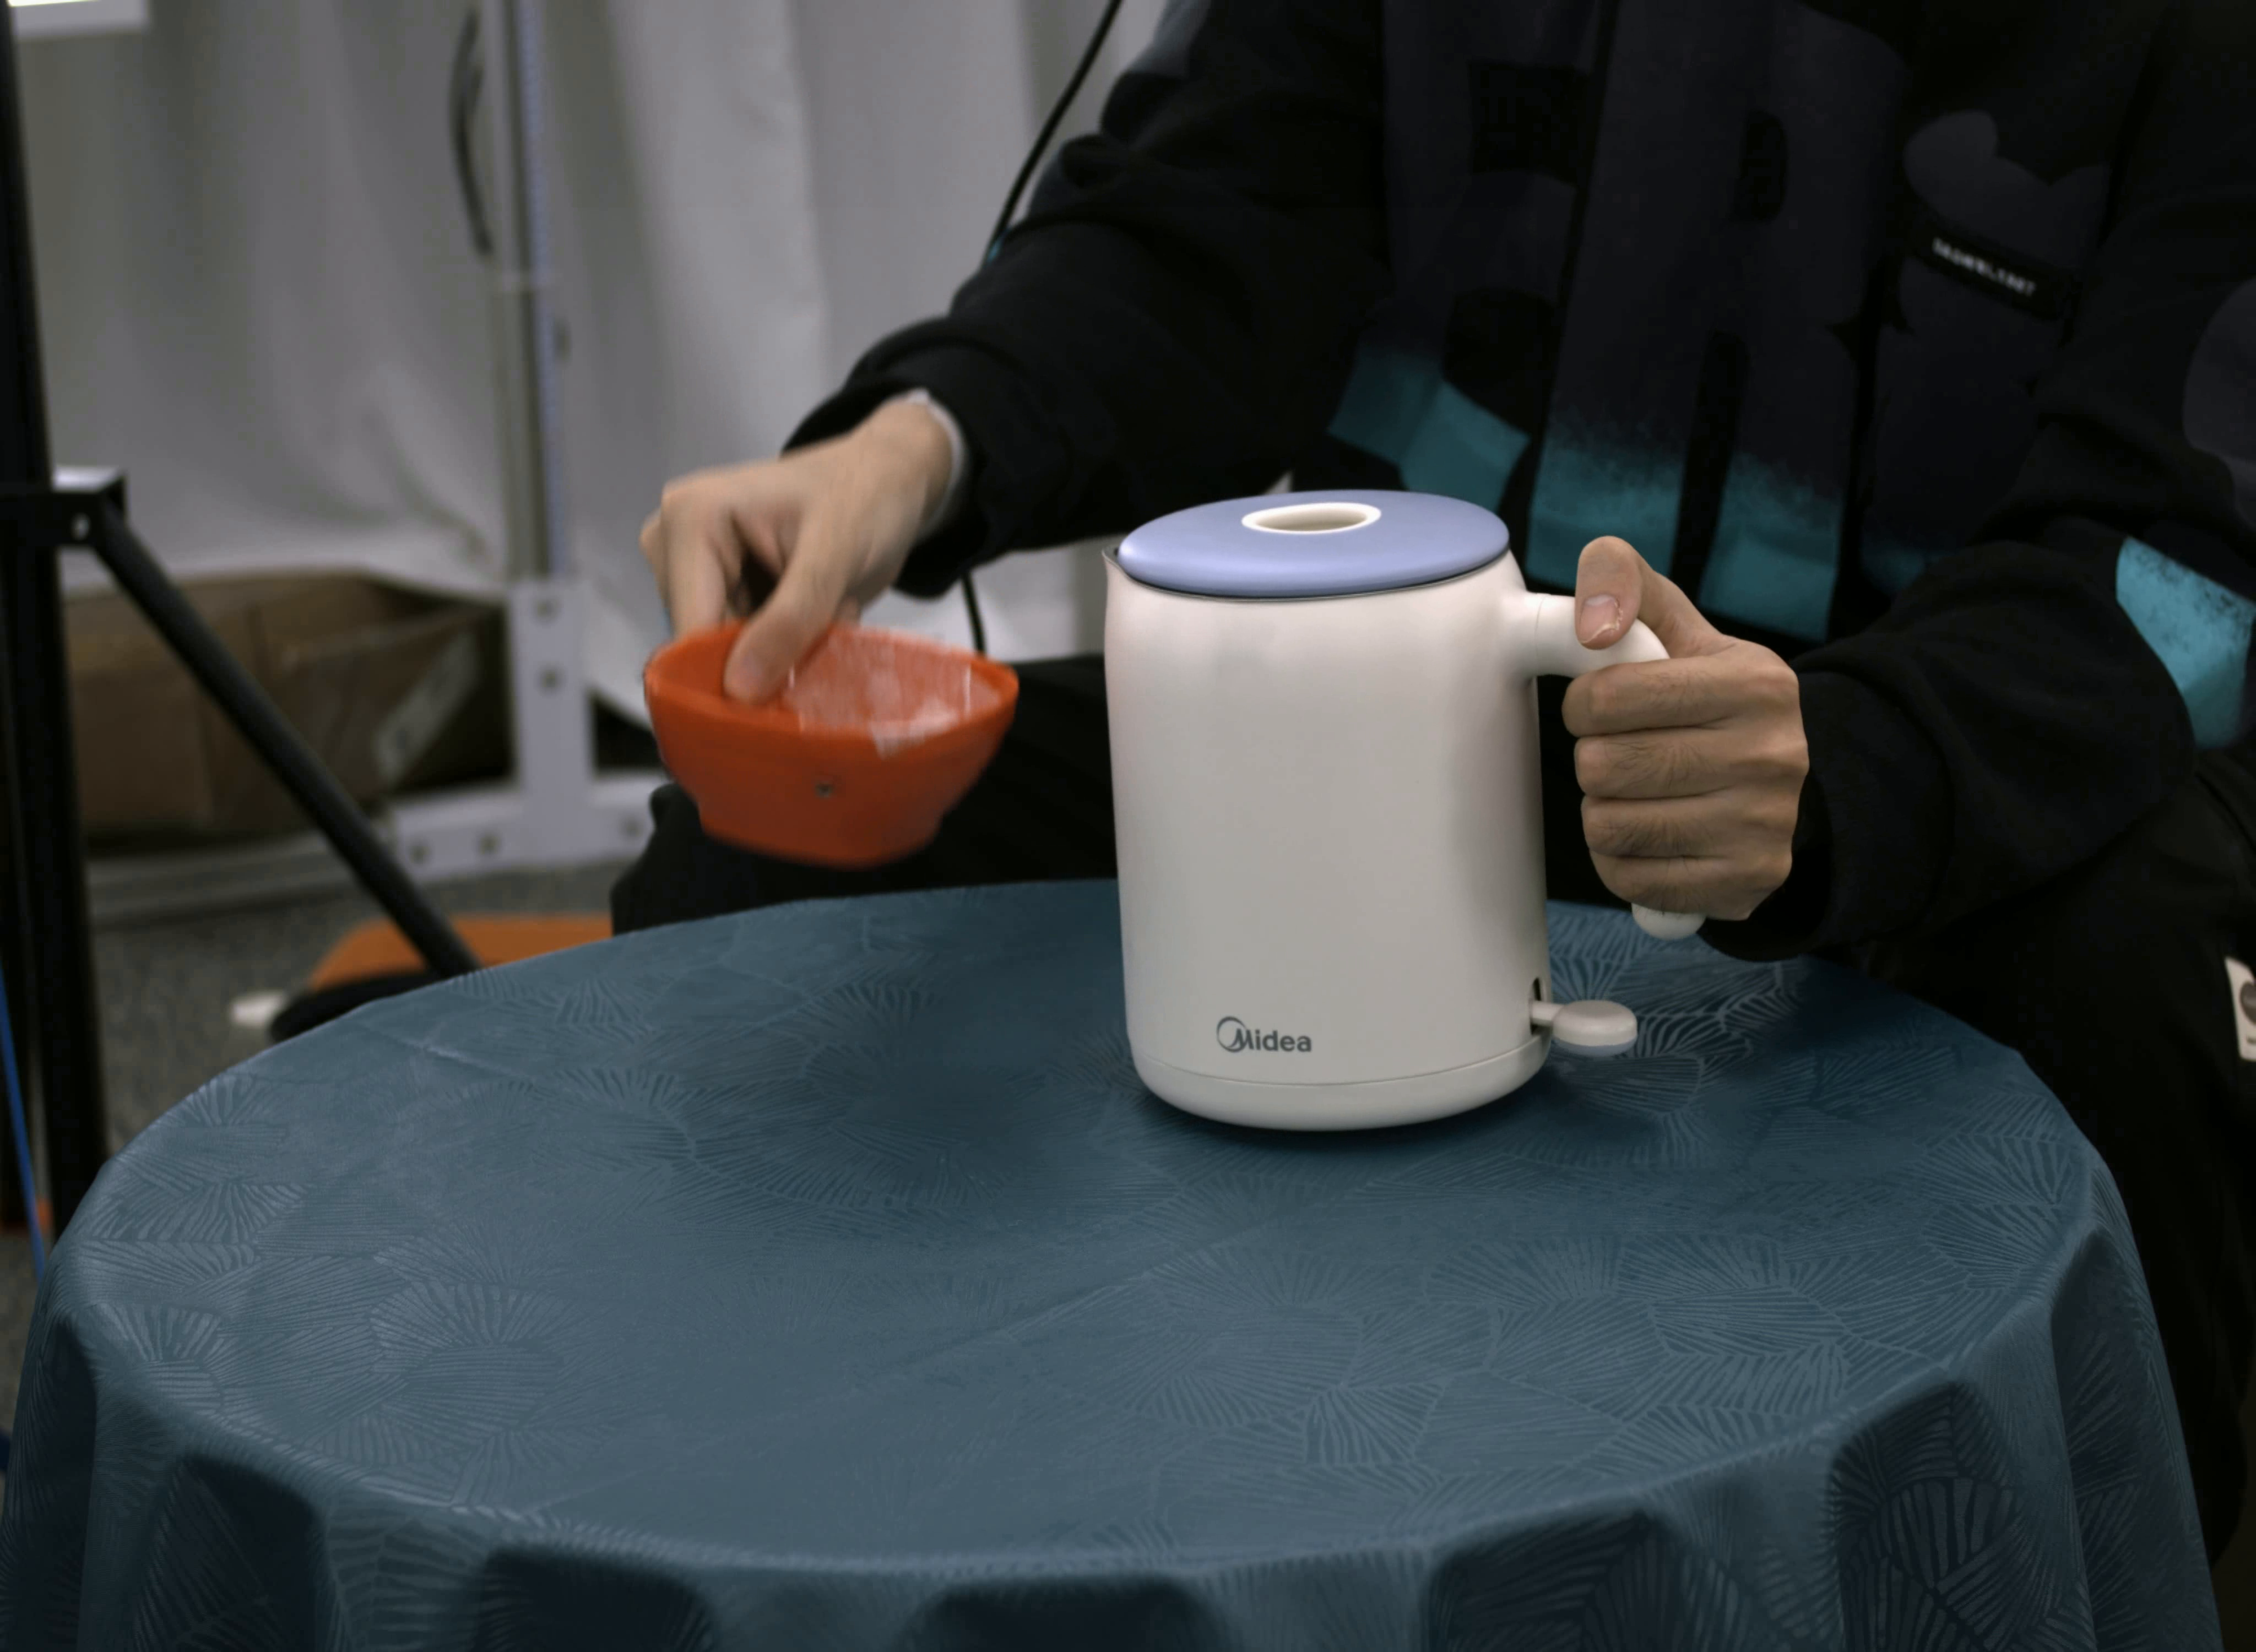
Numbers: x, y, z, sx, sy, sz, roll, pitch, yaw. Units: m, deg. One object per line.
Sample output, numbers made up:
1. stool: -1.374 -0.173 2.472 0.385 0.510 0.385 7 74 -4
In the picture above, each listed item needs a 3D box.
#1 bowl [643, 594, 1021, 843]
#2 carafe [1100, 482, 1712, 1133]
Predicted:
1. bowl: -0.092 -0.031 1.650 0.118 0.051 0.119 2 19 -2
2. carafe: 0.084 -0.005 1.610 0.193 0.182 0.130 5 18 22
